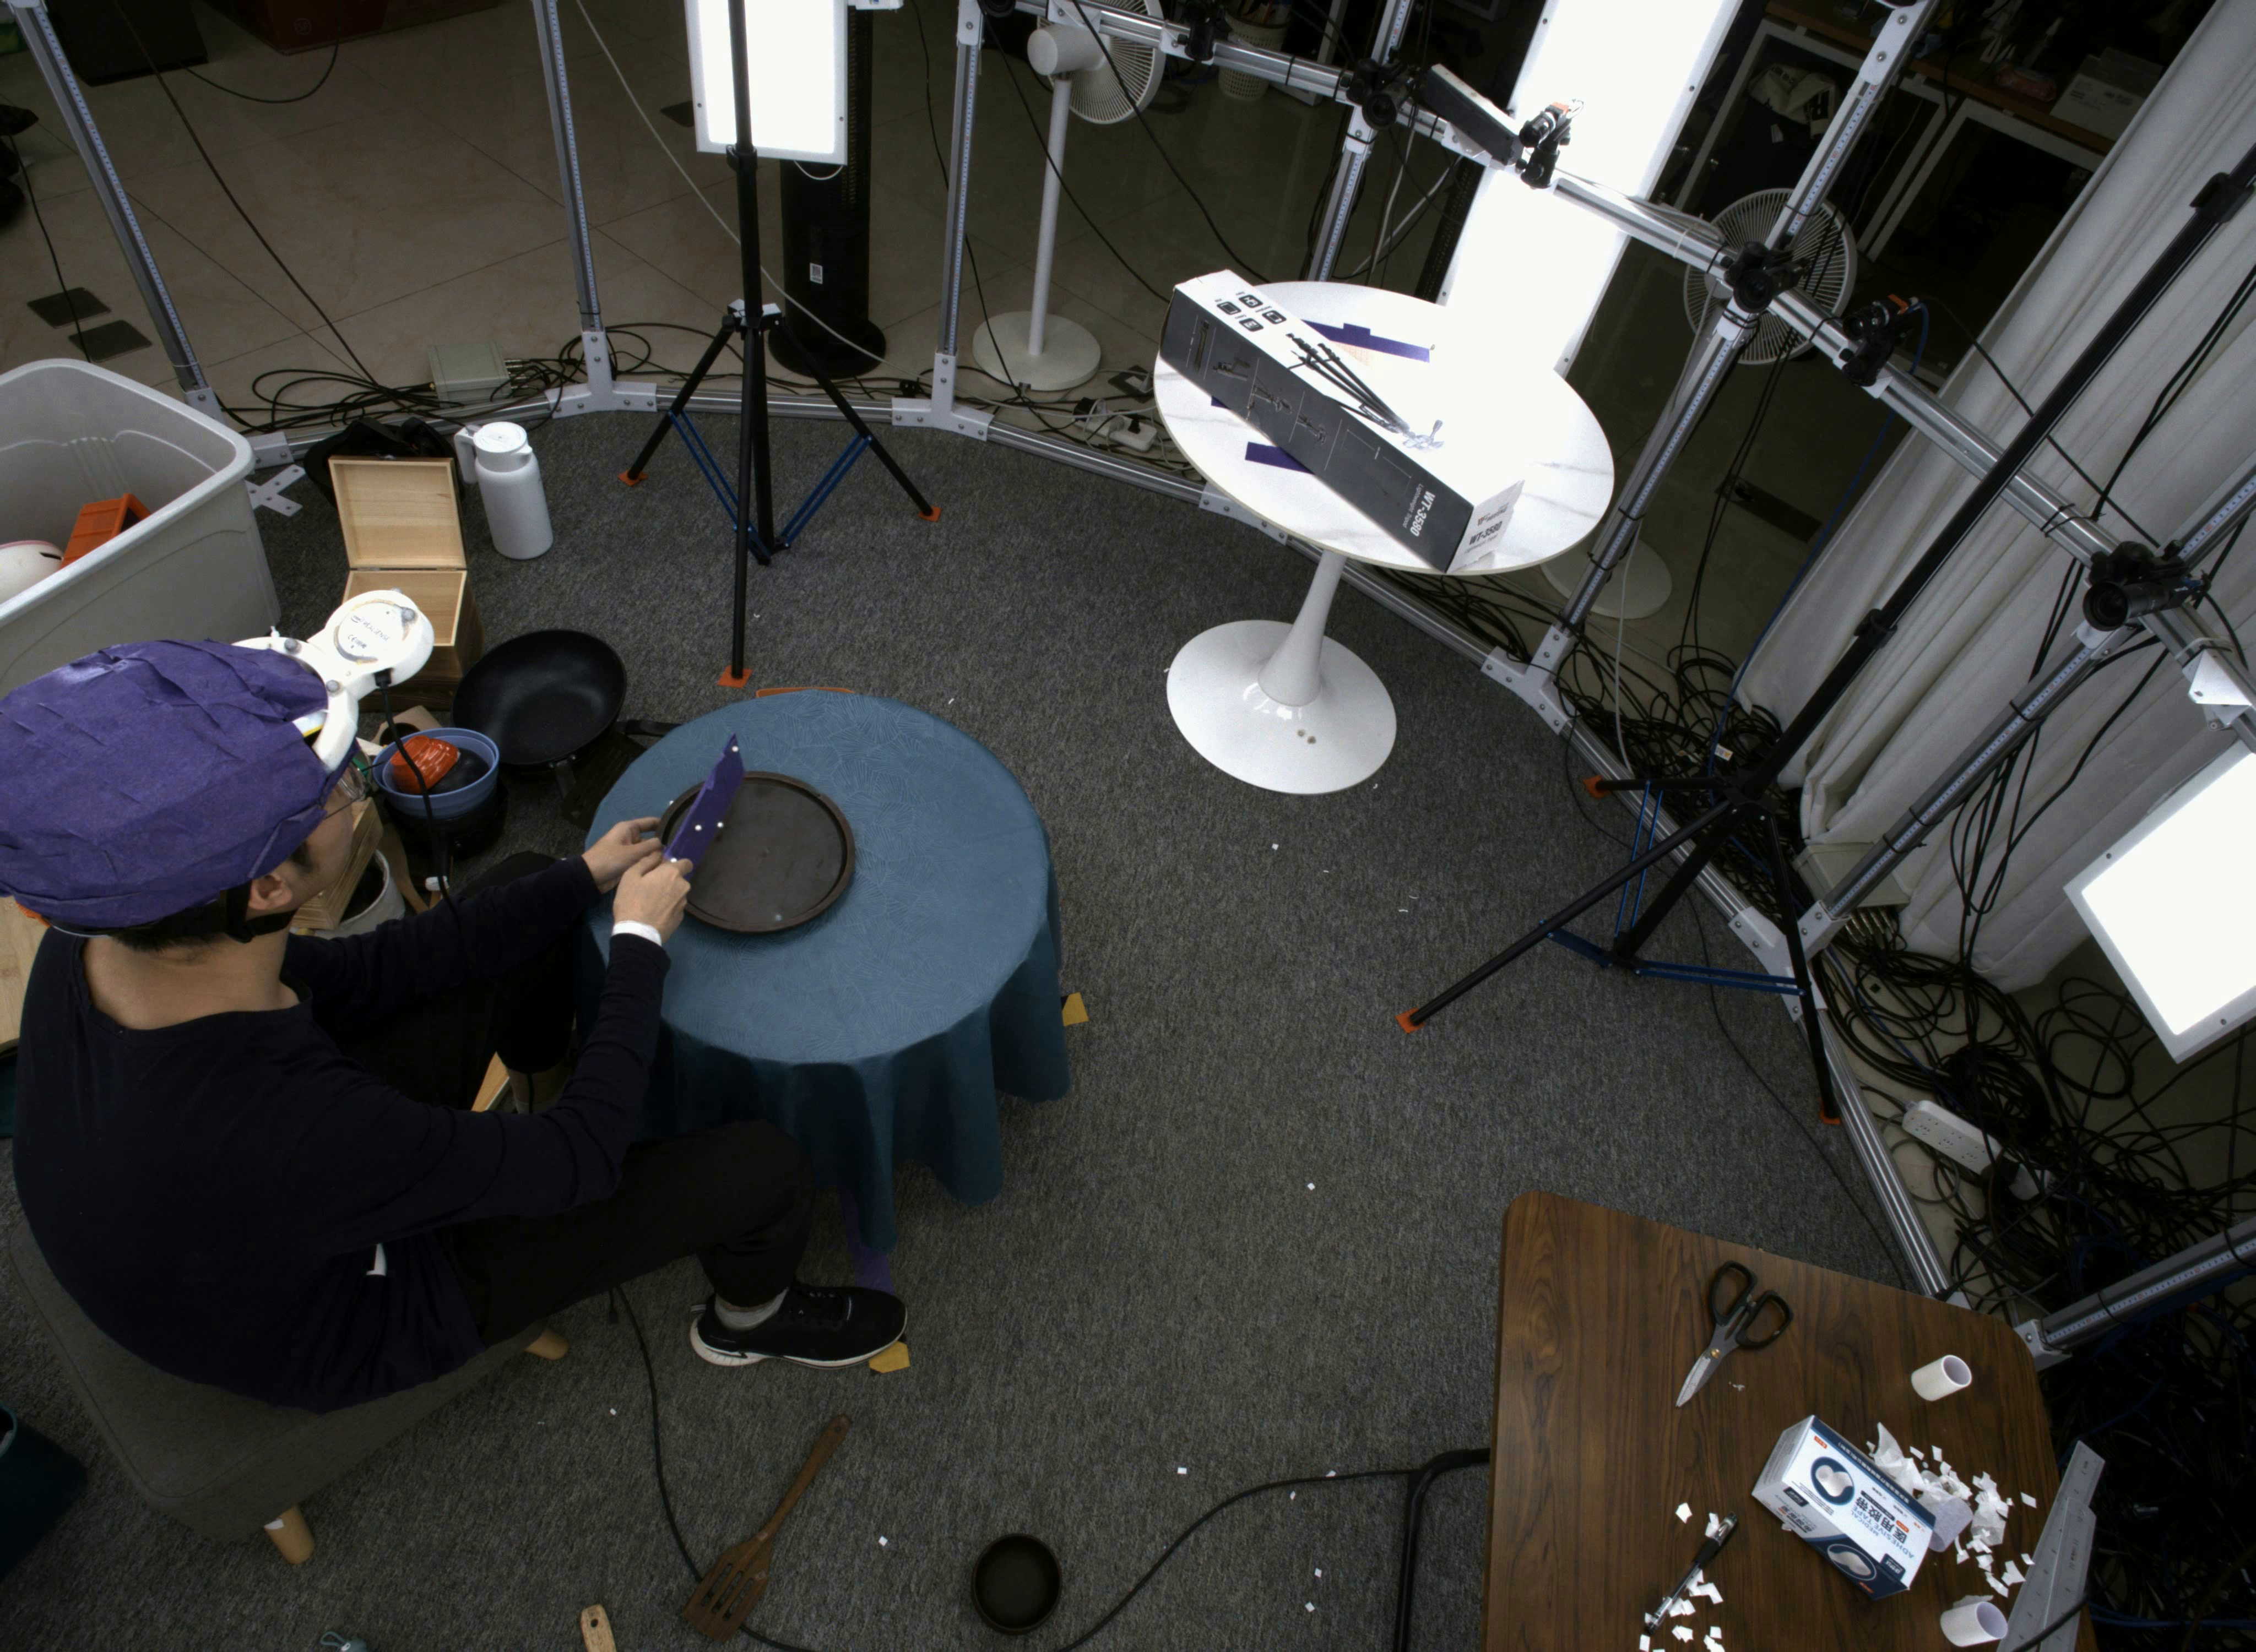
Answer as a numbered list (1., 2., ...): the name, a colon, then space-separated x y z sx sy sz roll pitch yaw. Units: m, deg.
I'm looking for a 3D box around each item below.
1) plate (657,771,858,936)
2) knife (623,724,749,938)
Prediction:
1. plate: -0.477 0.032 1.672 0.255 0.029 0.250 11 52 -12
2. knife: -0.534 0.019 1.587 0.032 0.106 0.312 14 53 5
